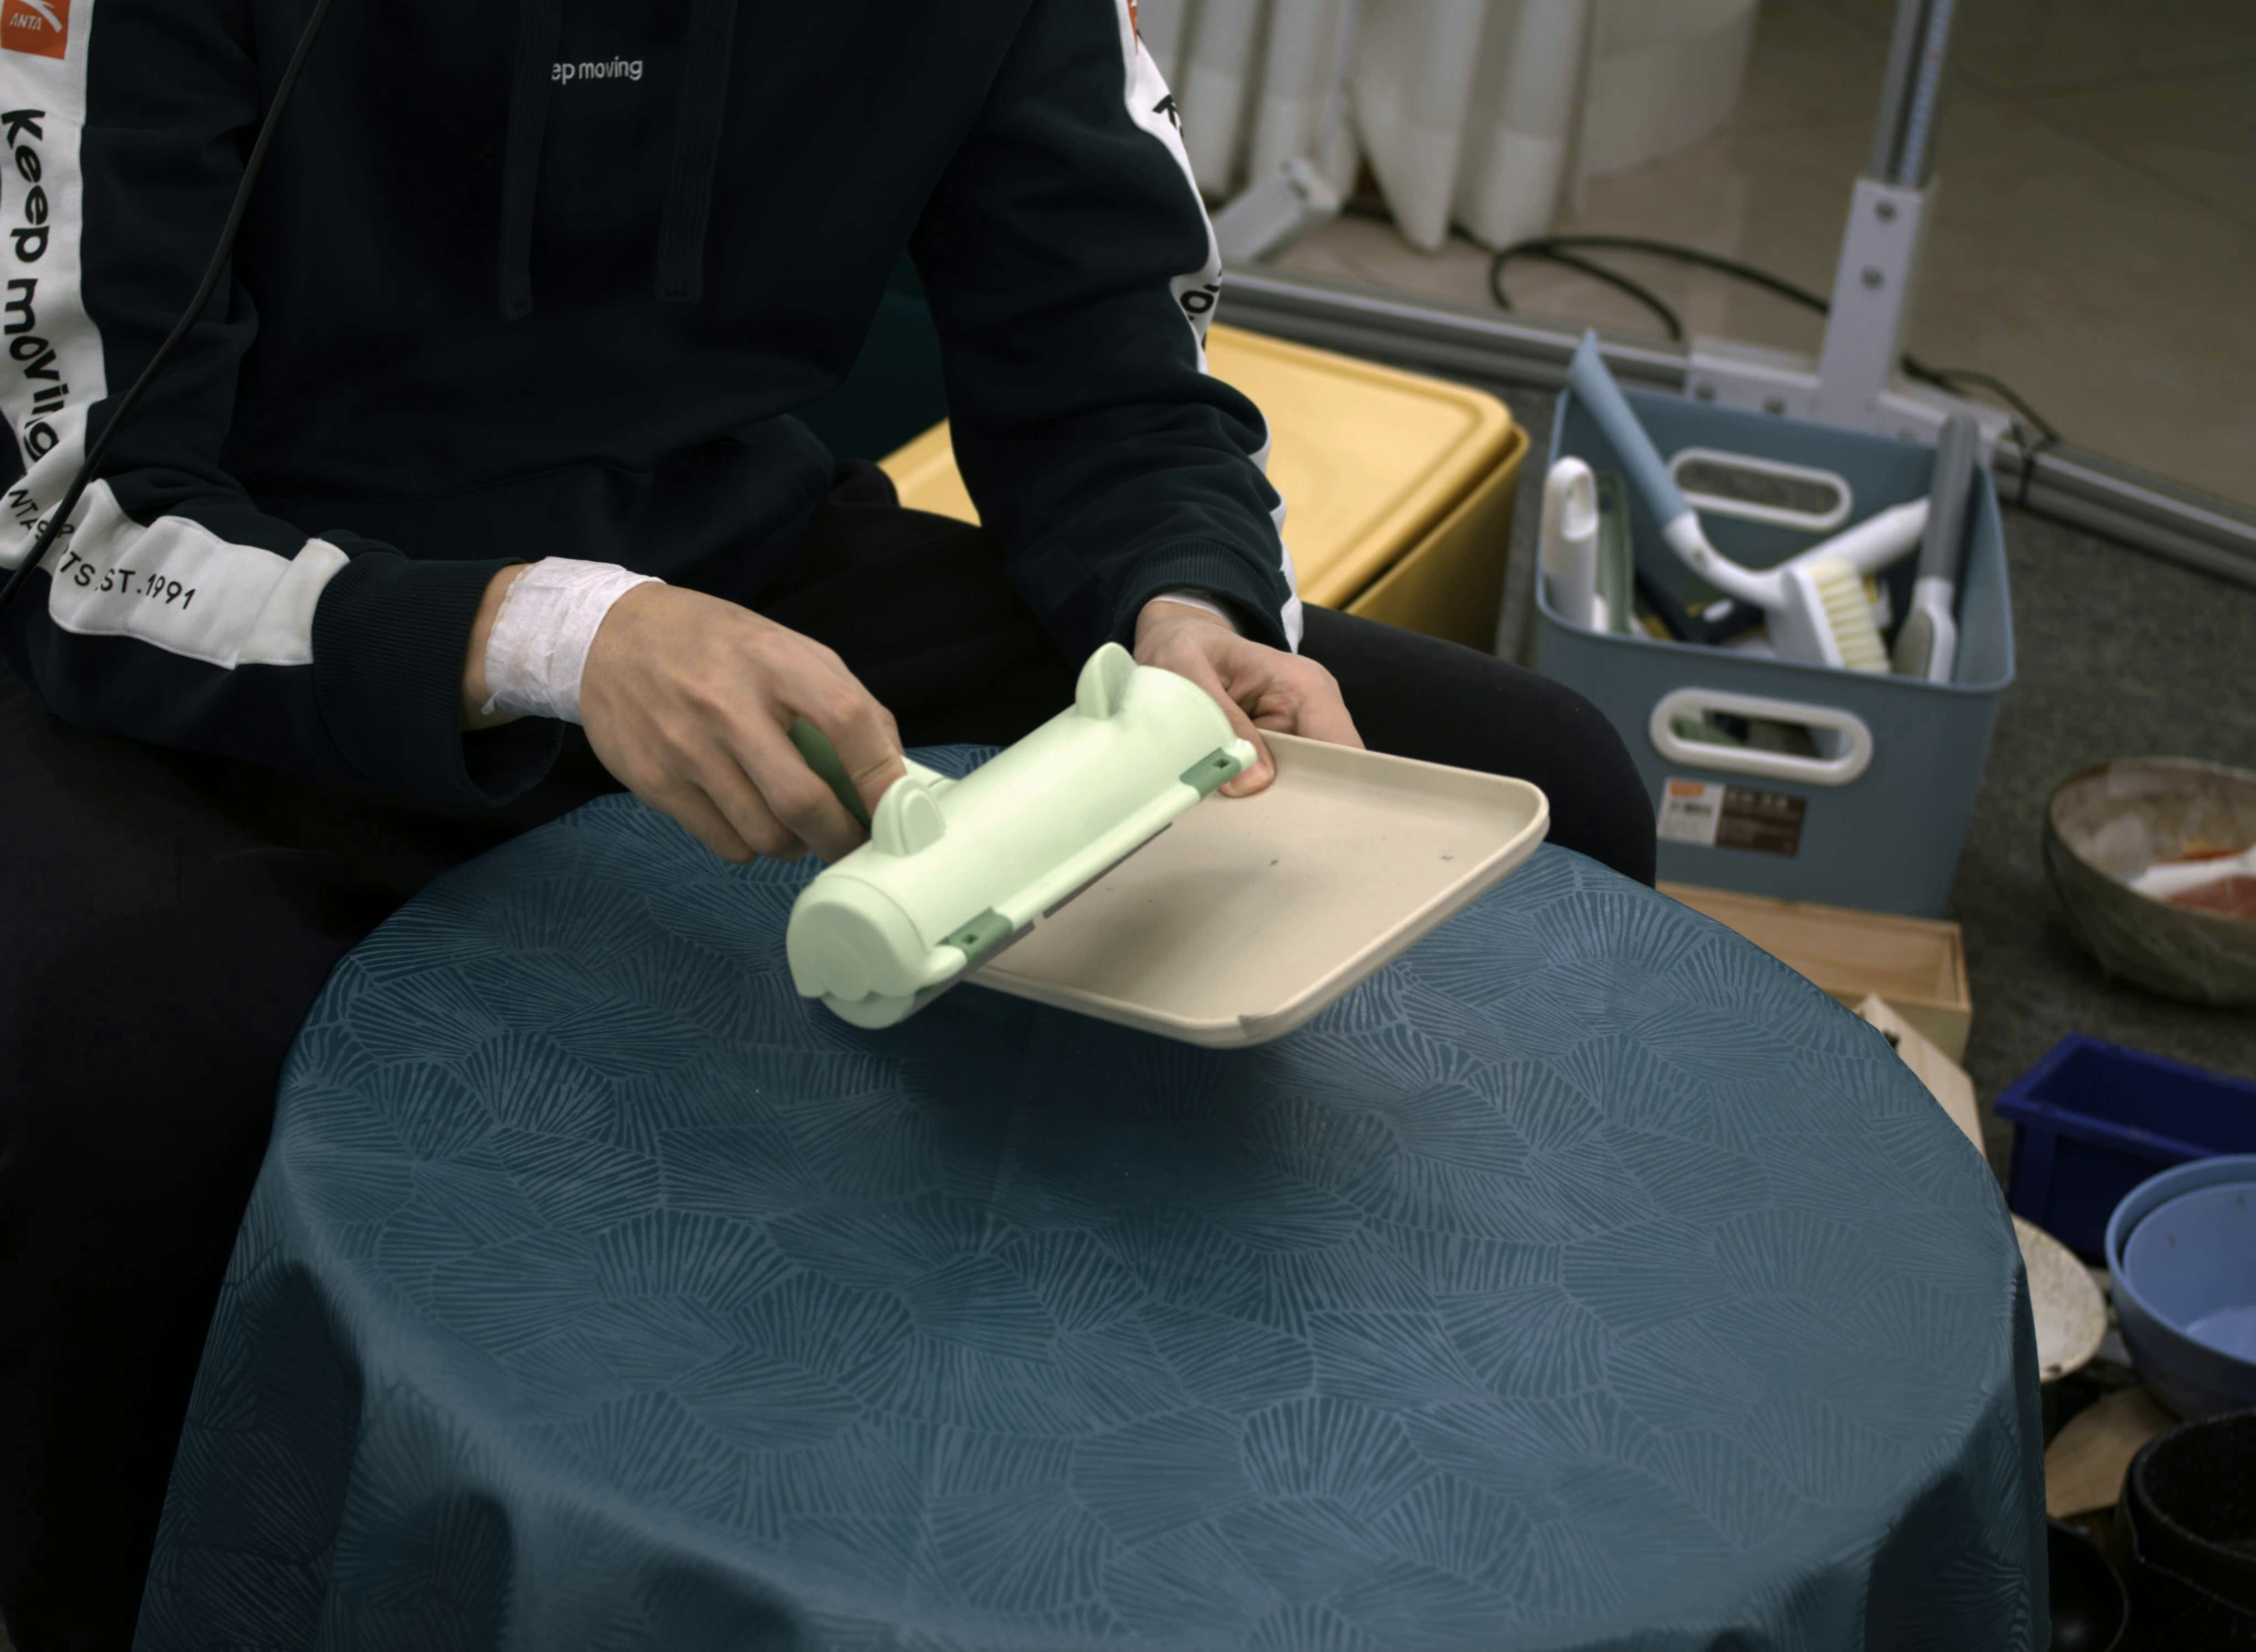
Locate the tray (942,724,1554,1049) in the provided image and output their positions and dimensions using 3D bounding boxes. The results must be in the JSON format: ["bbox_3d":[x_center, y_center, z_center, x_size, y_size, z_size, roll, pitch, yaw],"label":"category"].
[{"bbox_3d":[0.022,0.019,1.861,0.171,0.017,0.241,-34,29,-32],"label":"tray"}]

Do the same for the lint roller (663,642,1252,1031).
[{"bbox_3d":[-0.082,-0.023,1.805,0.184,0.082,0.198,27,38,24],"label":"lint roller"}]
